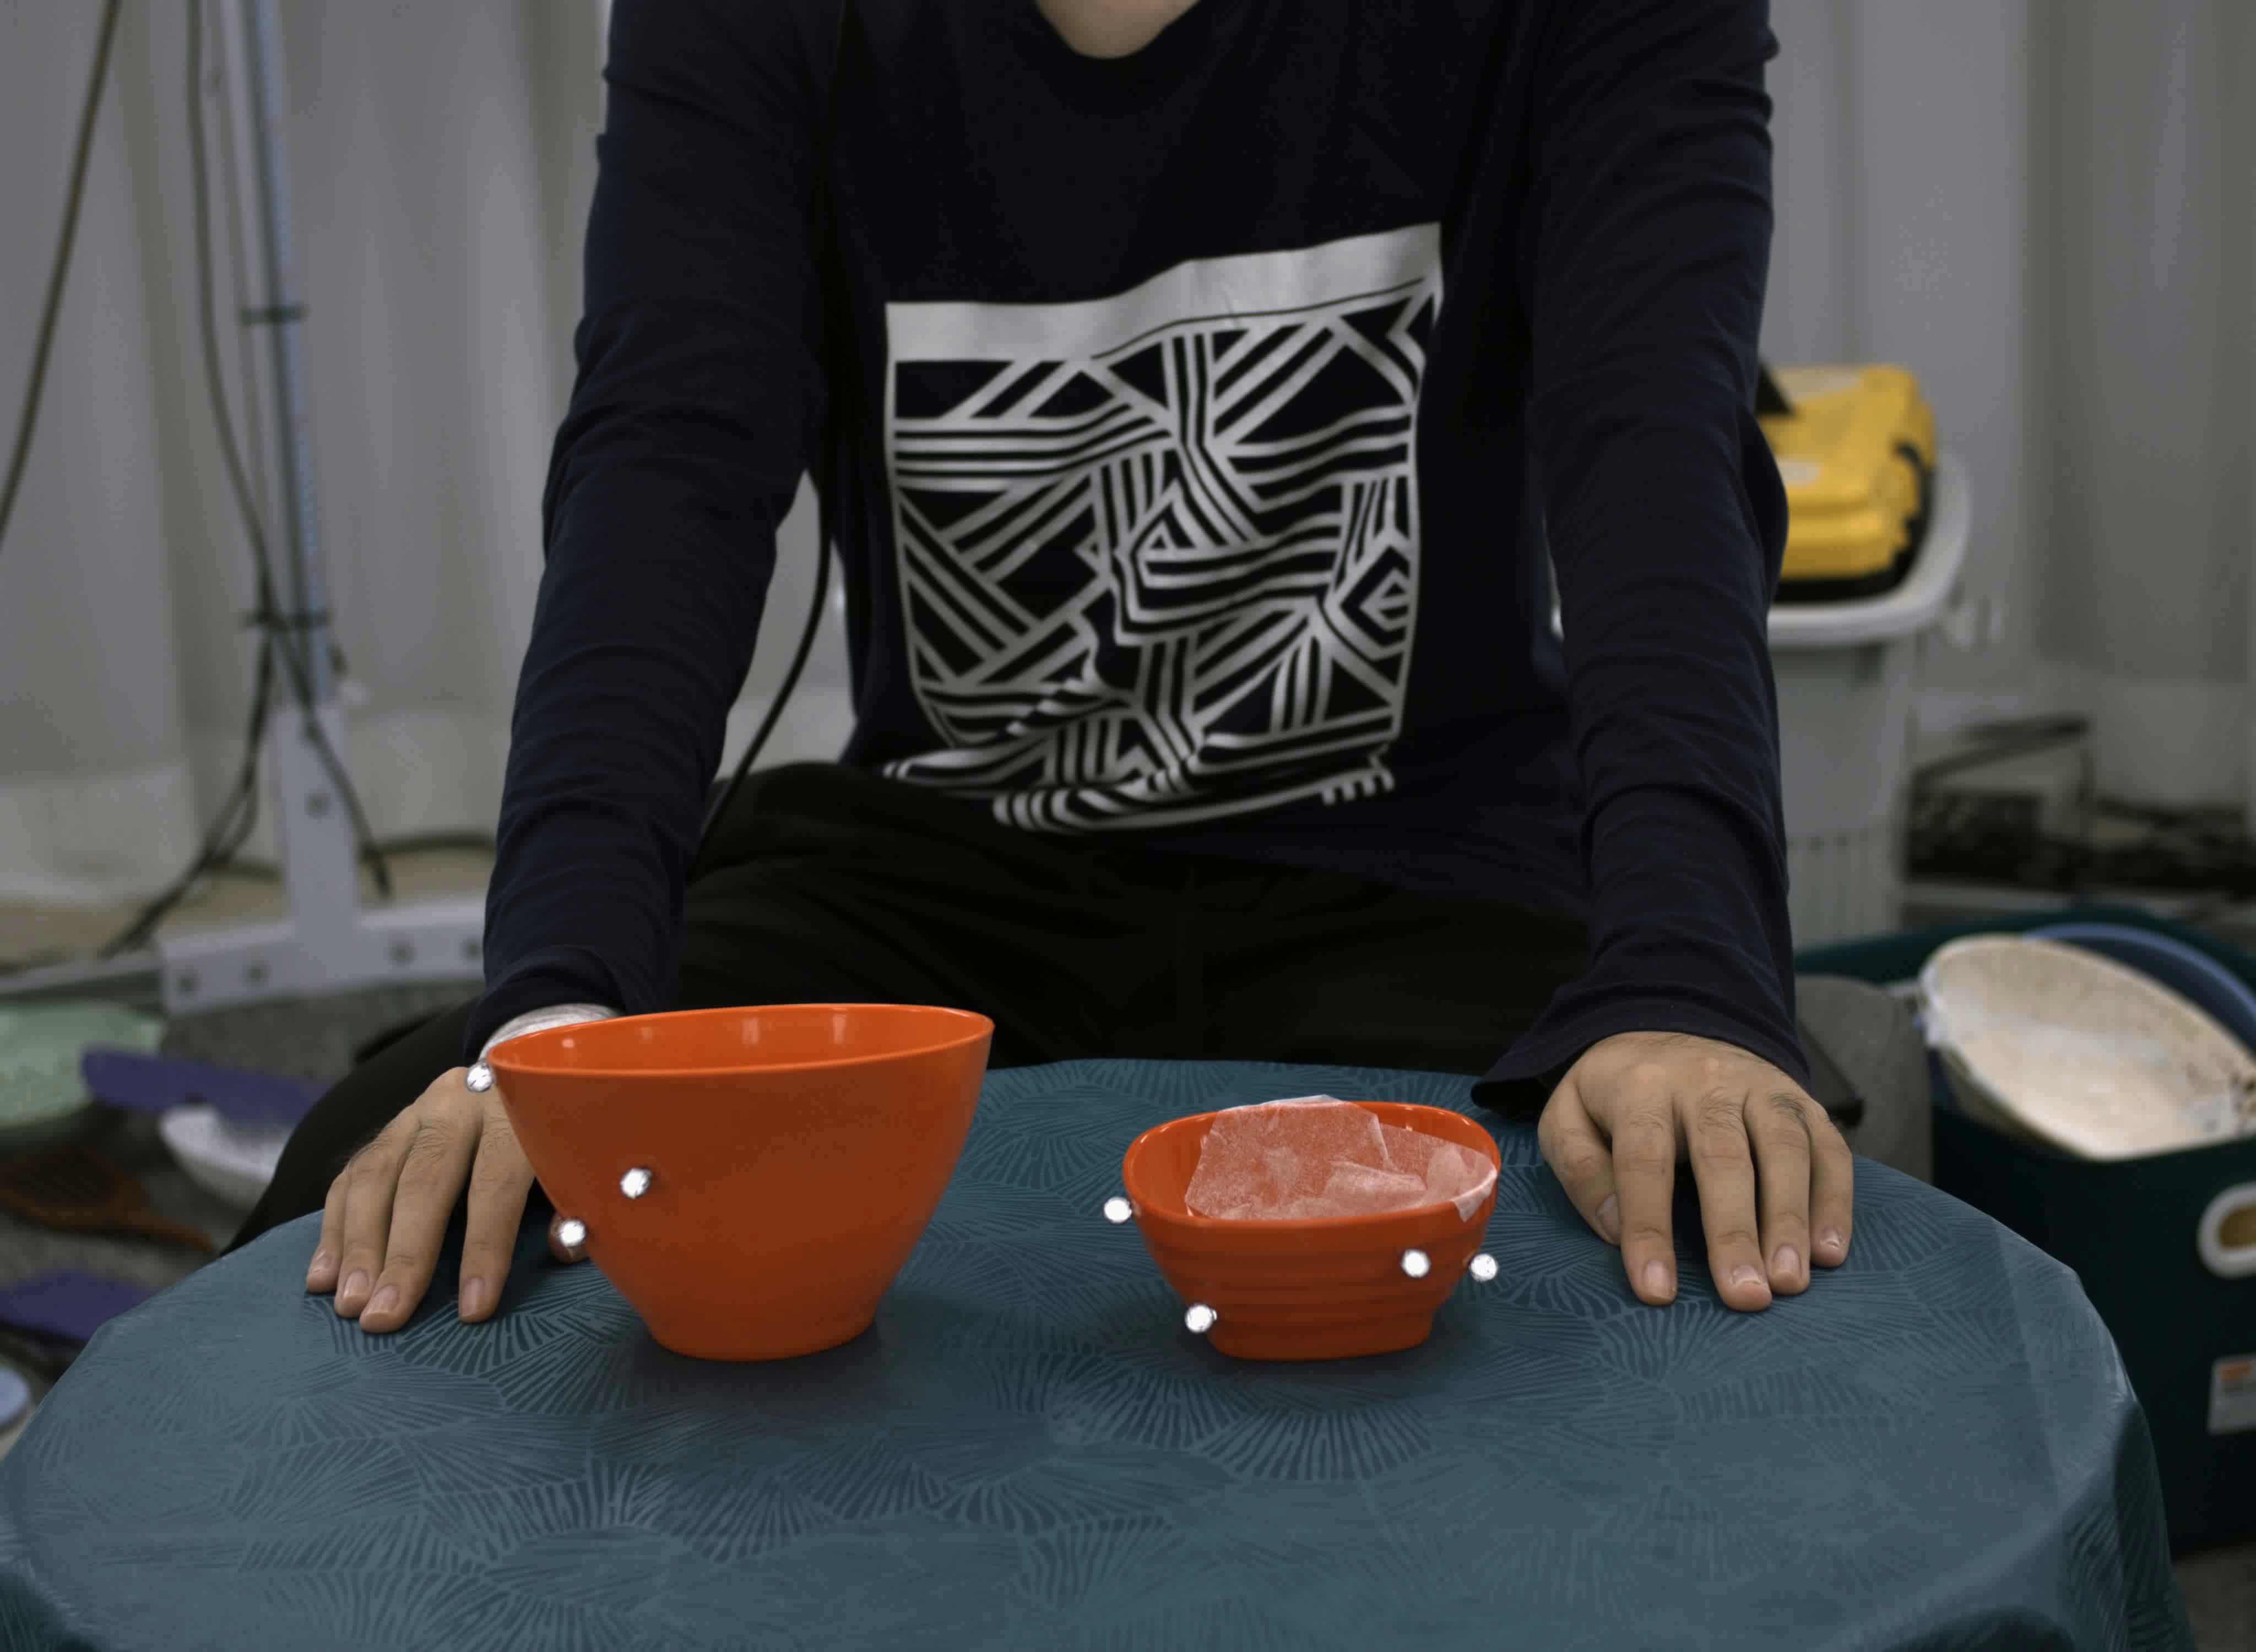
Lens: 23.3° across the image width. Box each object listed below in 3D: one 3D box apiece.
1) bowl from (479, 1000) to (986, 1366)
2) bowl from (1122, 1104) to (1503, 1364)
[{"bbox_3d":[-0.112,0.101,1.594,0.147,0.104,0.149,-3,14,1],"label":"bowl"},{"bbox_3d":[0.055,0.121,1.589,0.118,0.051,0.119,-4,14,1],"label":"bowl"}]
